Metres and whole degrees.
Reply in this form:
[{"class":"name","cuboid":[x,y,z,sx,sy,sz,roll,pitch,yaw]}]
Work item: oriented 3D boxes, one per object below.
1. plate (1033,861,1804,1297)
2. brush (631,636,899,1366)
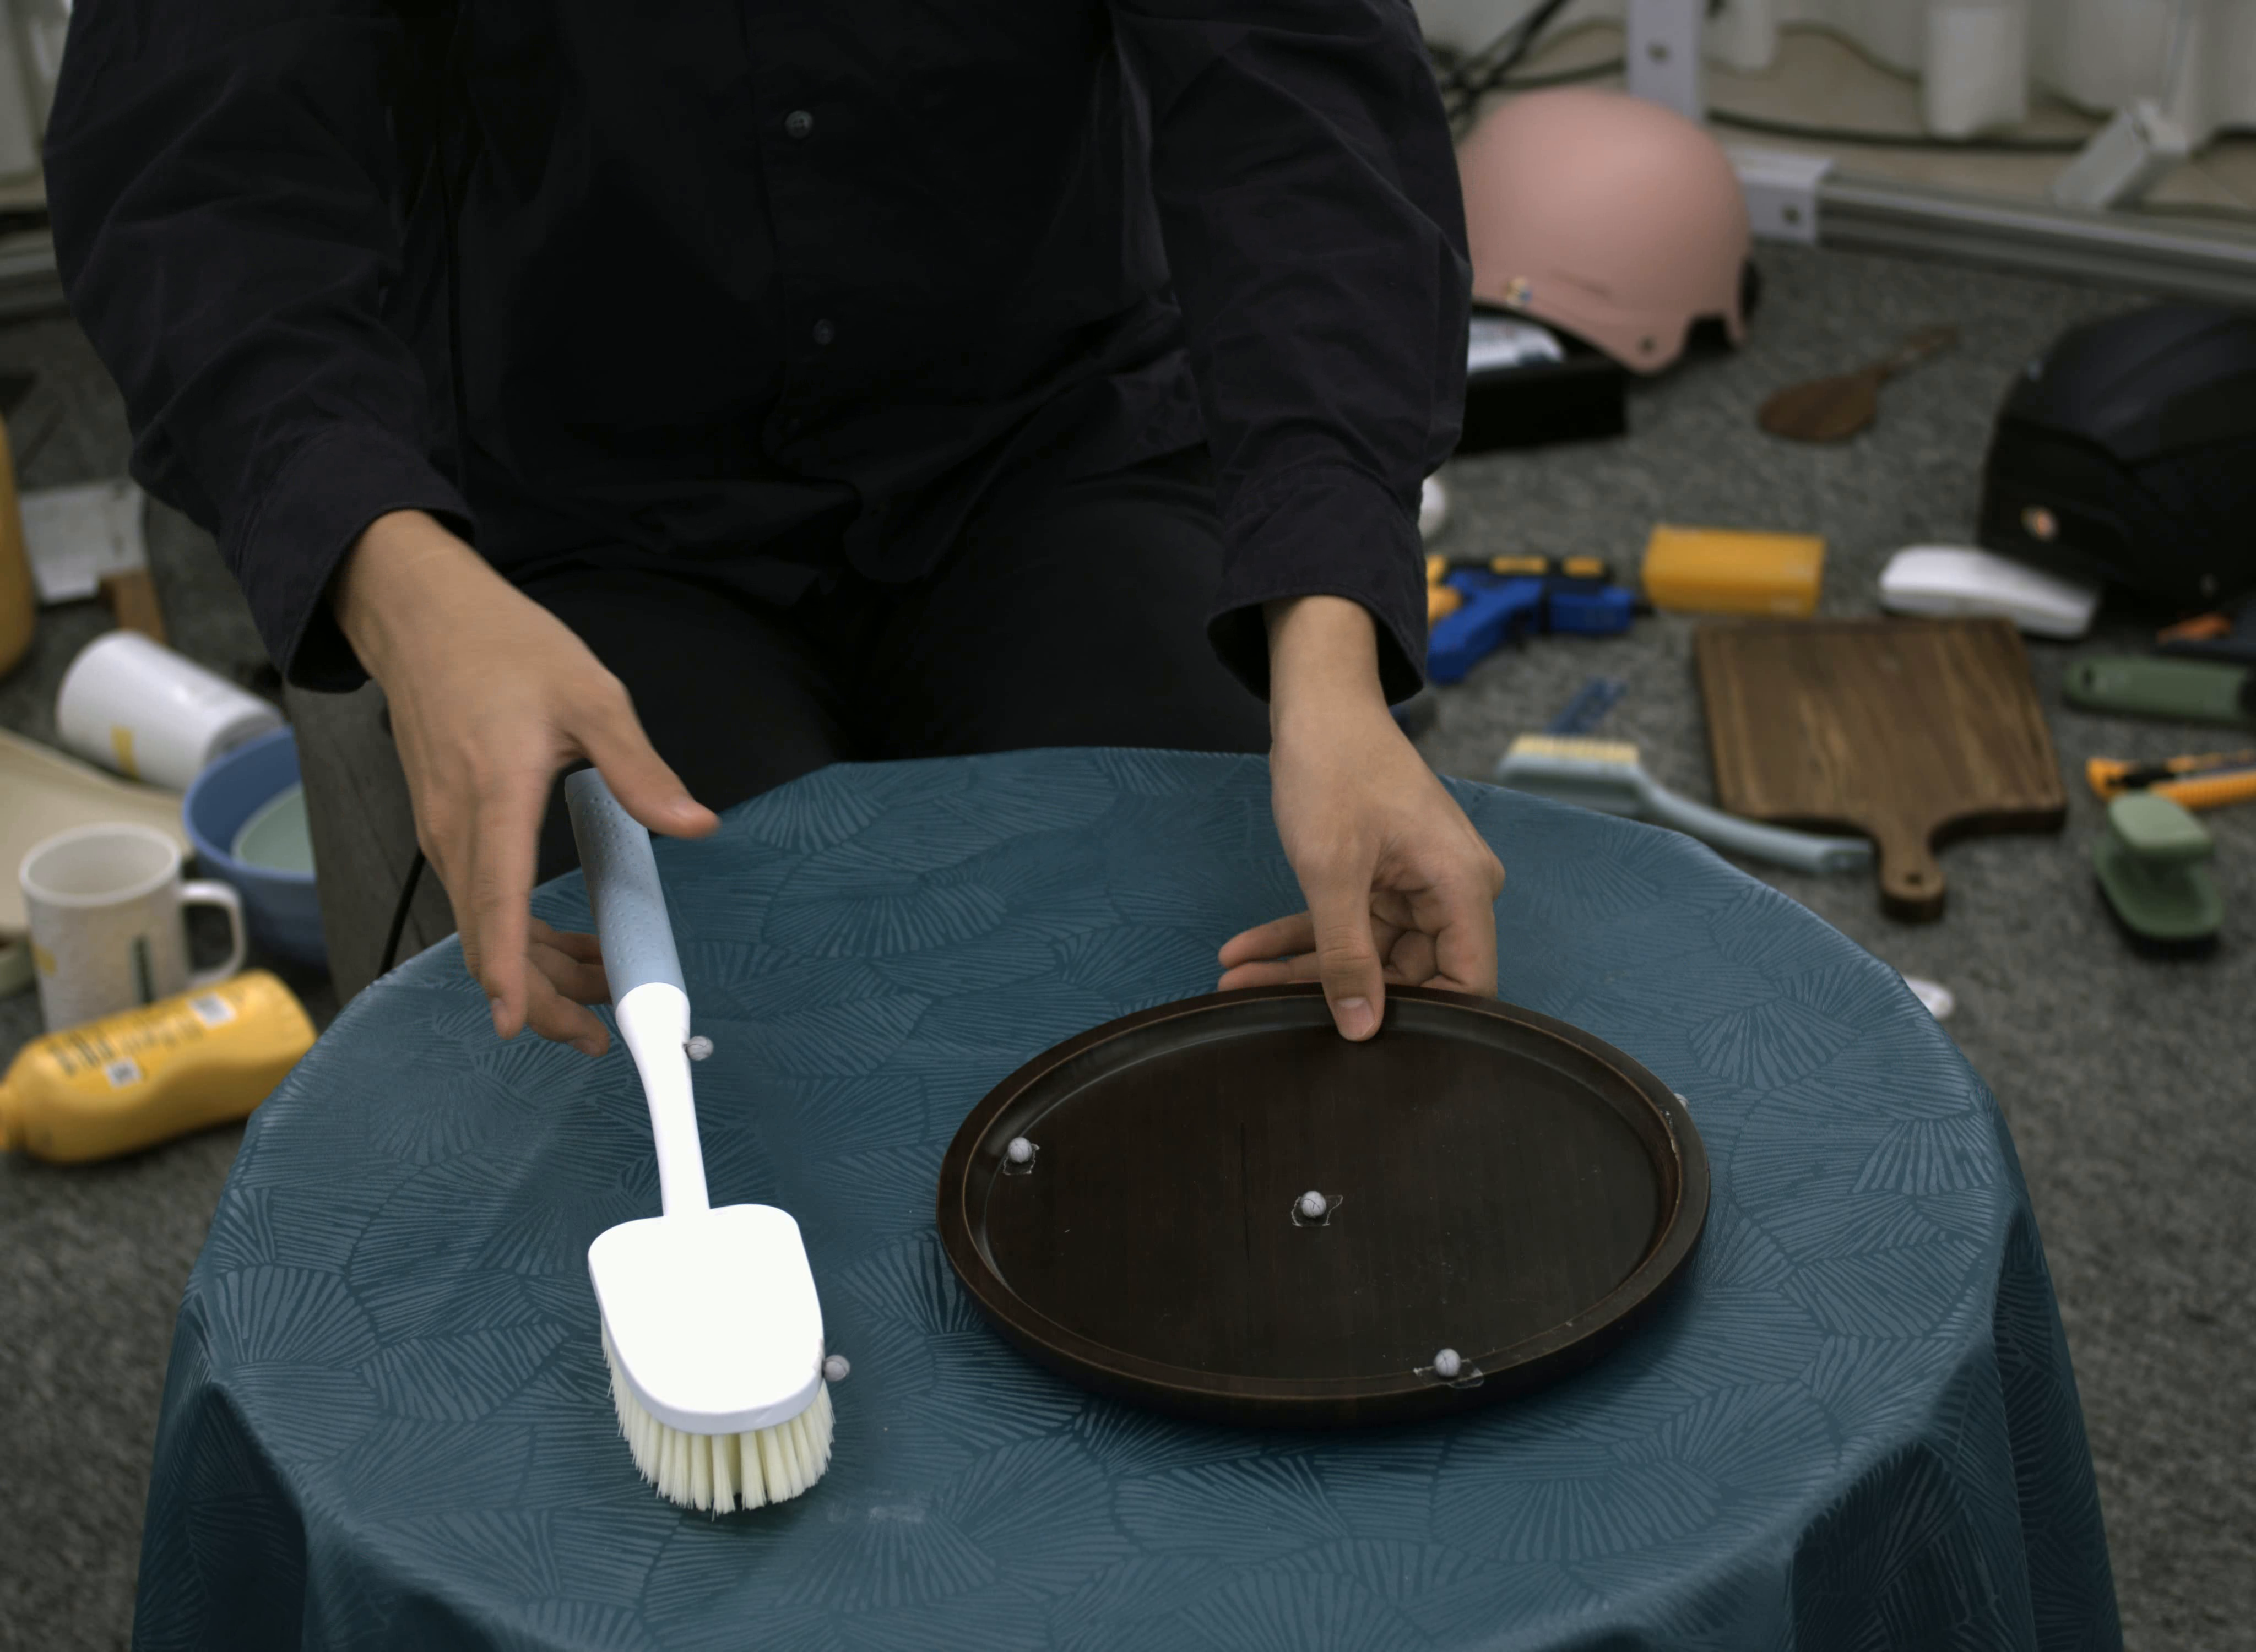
[{"class":"plate","cuboid":[0.095,0.081,1.847,0.253,0.029,0.259,-4,28,2]},{"class":"brush","cuboid":[-0.124,0.064,1.840,0.083,0.083,0.330,24,29,-30]}]
